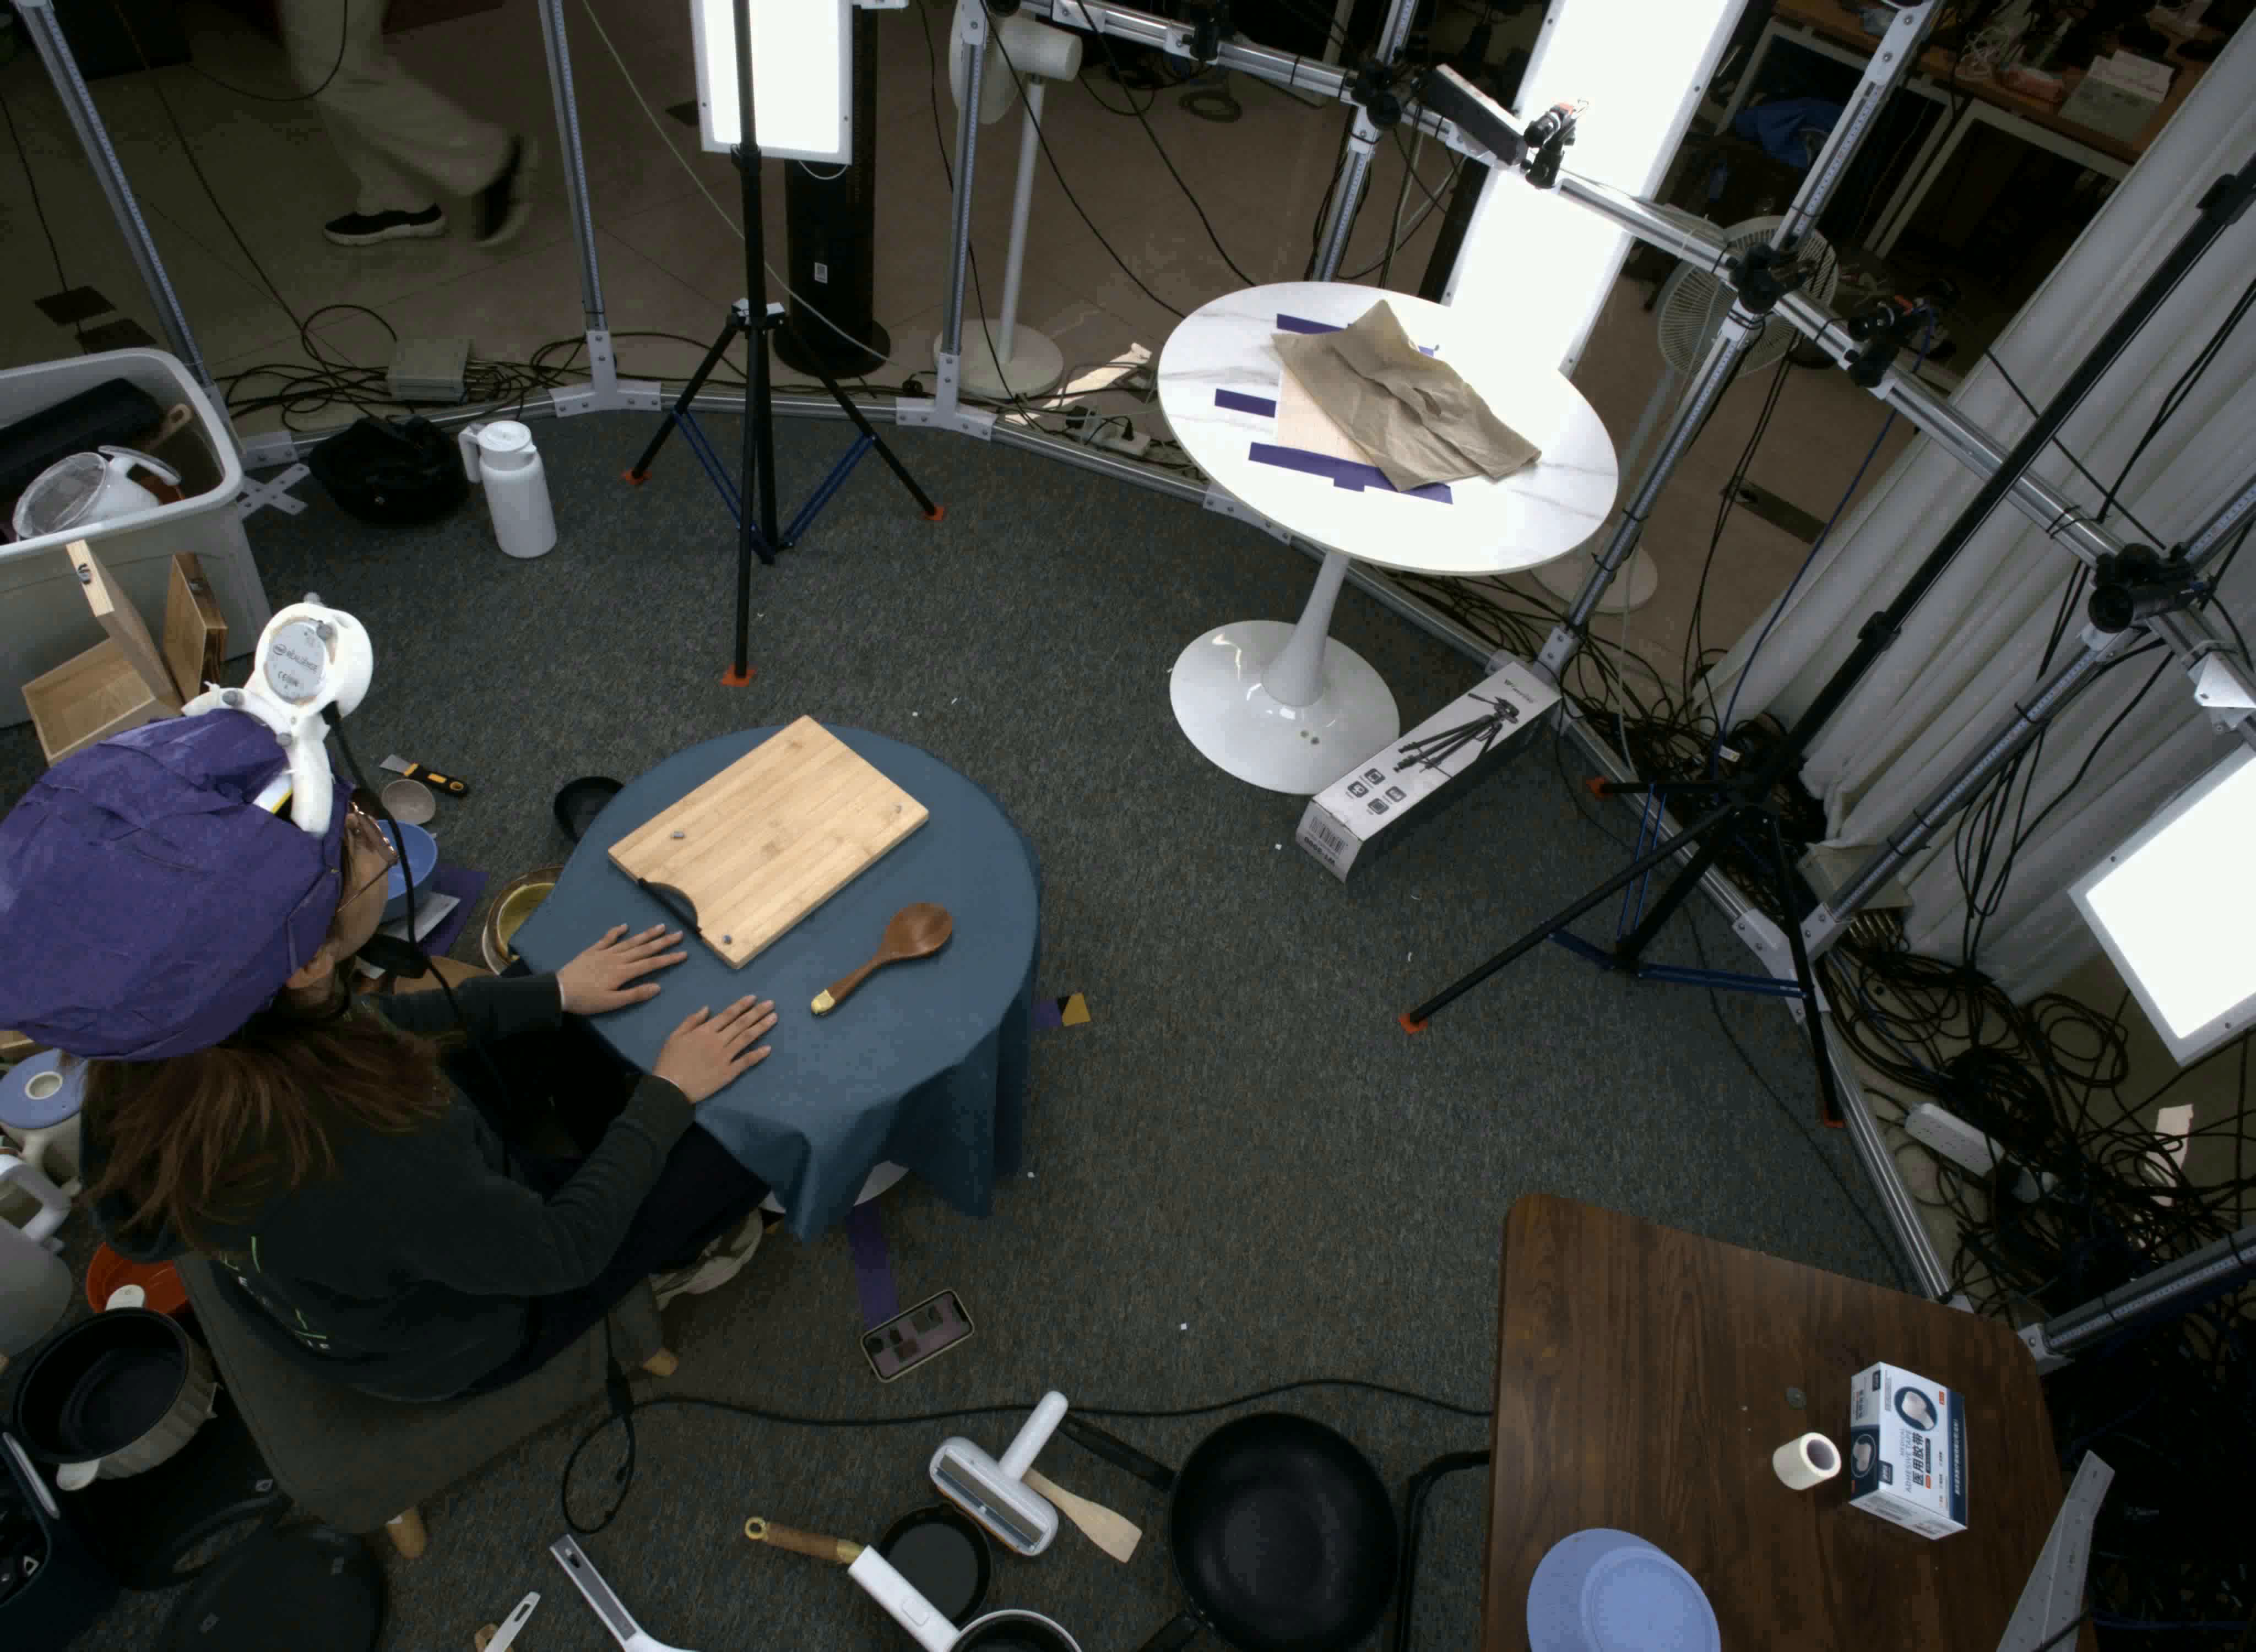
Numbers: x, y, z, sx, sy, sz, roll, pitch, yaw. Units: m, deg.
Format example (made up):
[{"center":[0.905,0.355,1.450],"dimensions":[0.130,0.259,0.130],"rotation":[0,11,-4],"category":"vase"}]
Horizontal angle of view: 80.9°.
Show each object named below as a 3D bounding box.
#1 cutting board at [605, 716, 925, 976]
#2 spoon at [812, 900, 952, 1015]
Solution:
[{"center":[-0.470,0.014,1.697],"dimensions":[0.245,0.024,0.348],"rotation":[36,54,14],"category":"cutting board"},{"center":[-0.309,0.164,1.625],"dimensions":[0.074,0.017,0.216],"rotation":[41,54,15],"category":"spoon"}]
